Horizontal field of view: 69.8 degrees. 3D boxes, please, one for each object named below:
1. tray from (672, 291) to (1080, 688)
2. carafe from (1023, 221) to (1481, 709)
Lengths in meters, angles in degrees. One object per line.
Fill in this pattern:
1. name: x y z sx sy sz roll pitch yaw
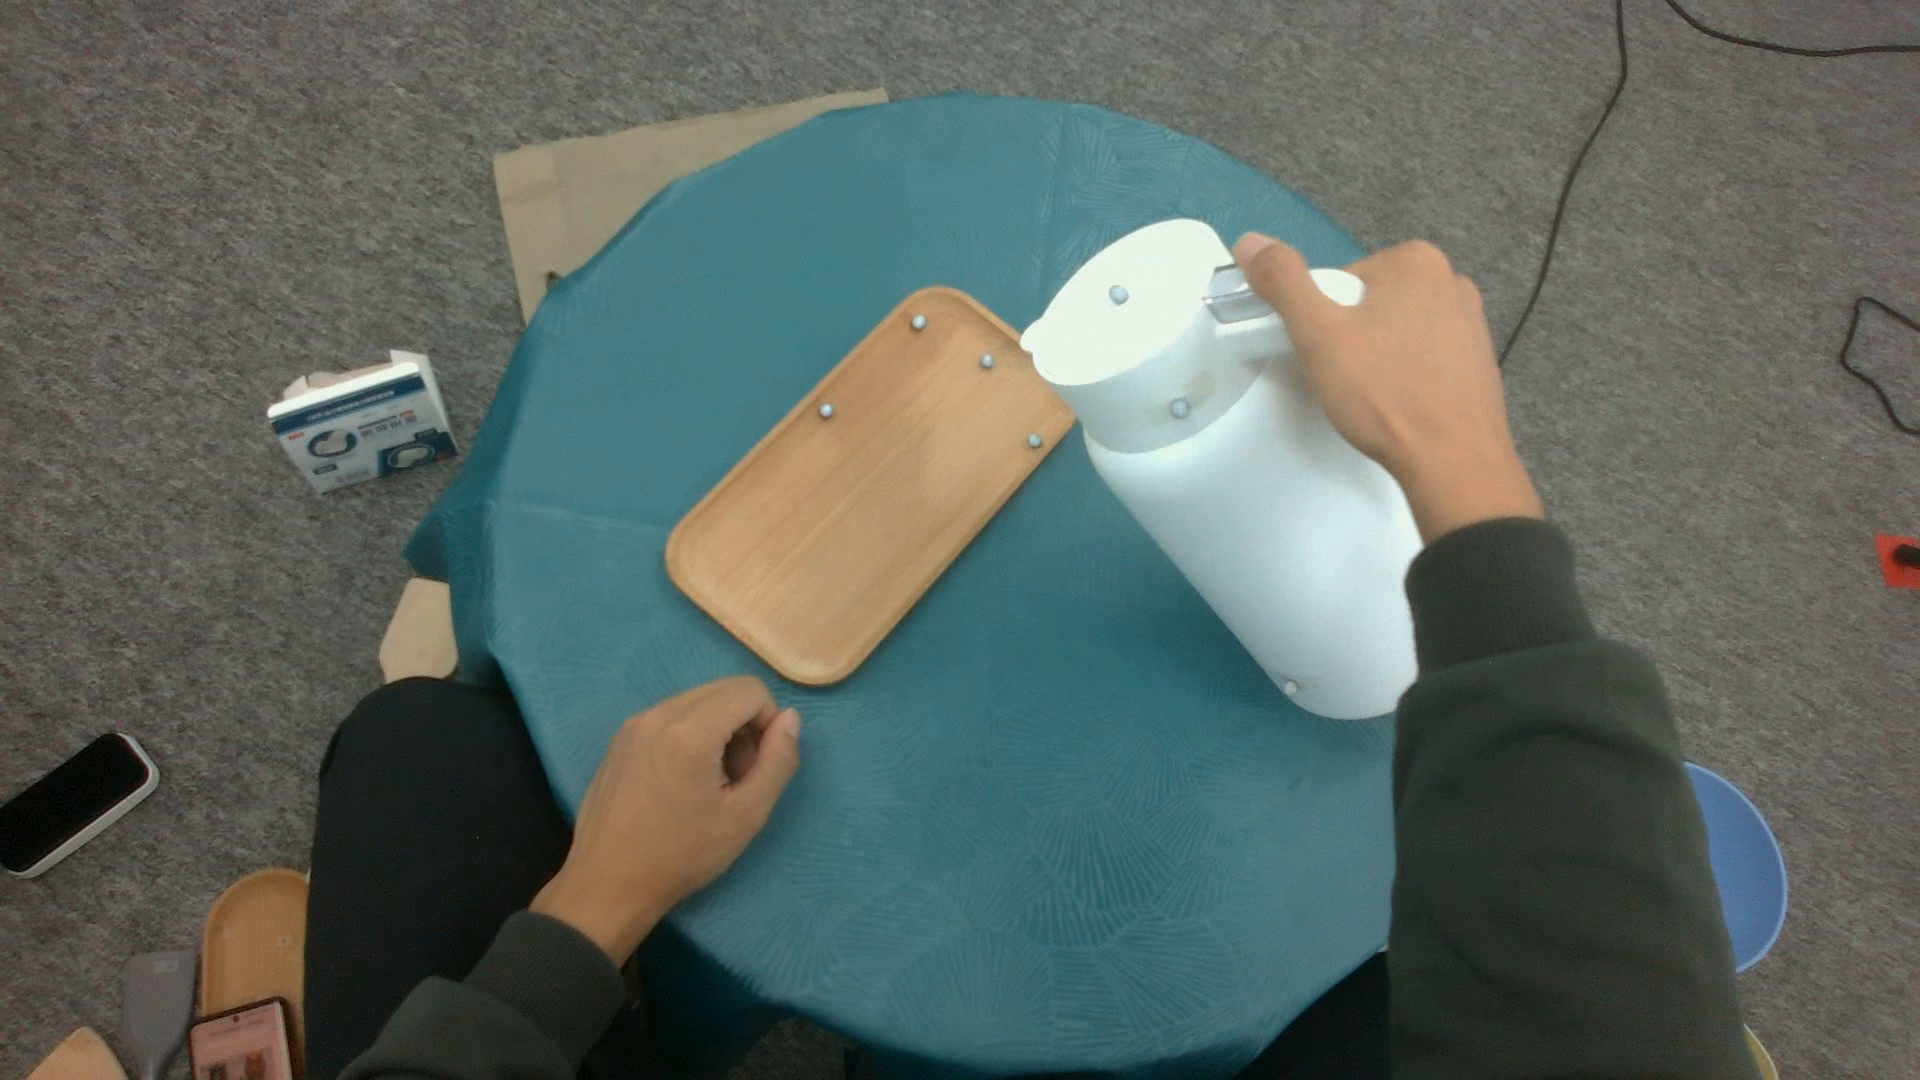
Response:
1. tray: -0.044 -0.035 0.796 0.130 0.023 0.251 38 69 11
2. carafe: 0.167 -0.031 0.677 0.268 0.172 0.124 48 56 -34
